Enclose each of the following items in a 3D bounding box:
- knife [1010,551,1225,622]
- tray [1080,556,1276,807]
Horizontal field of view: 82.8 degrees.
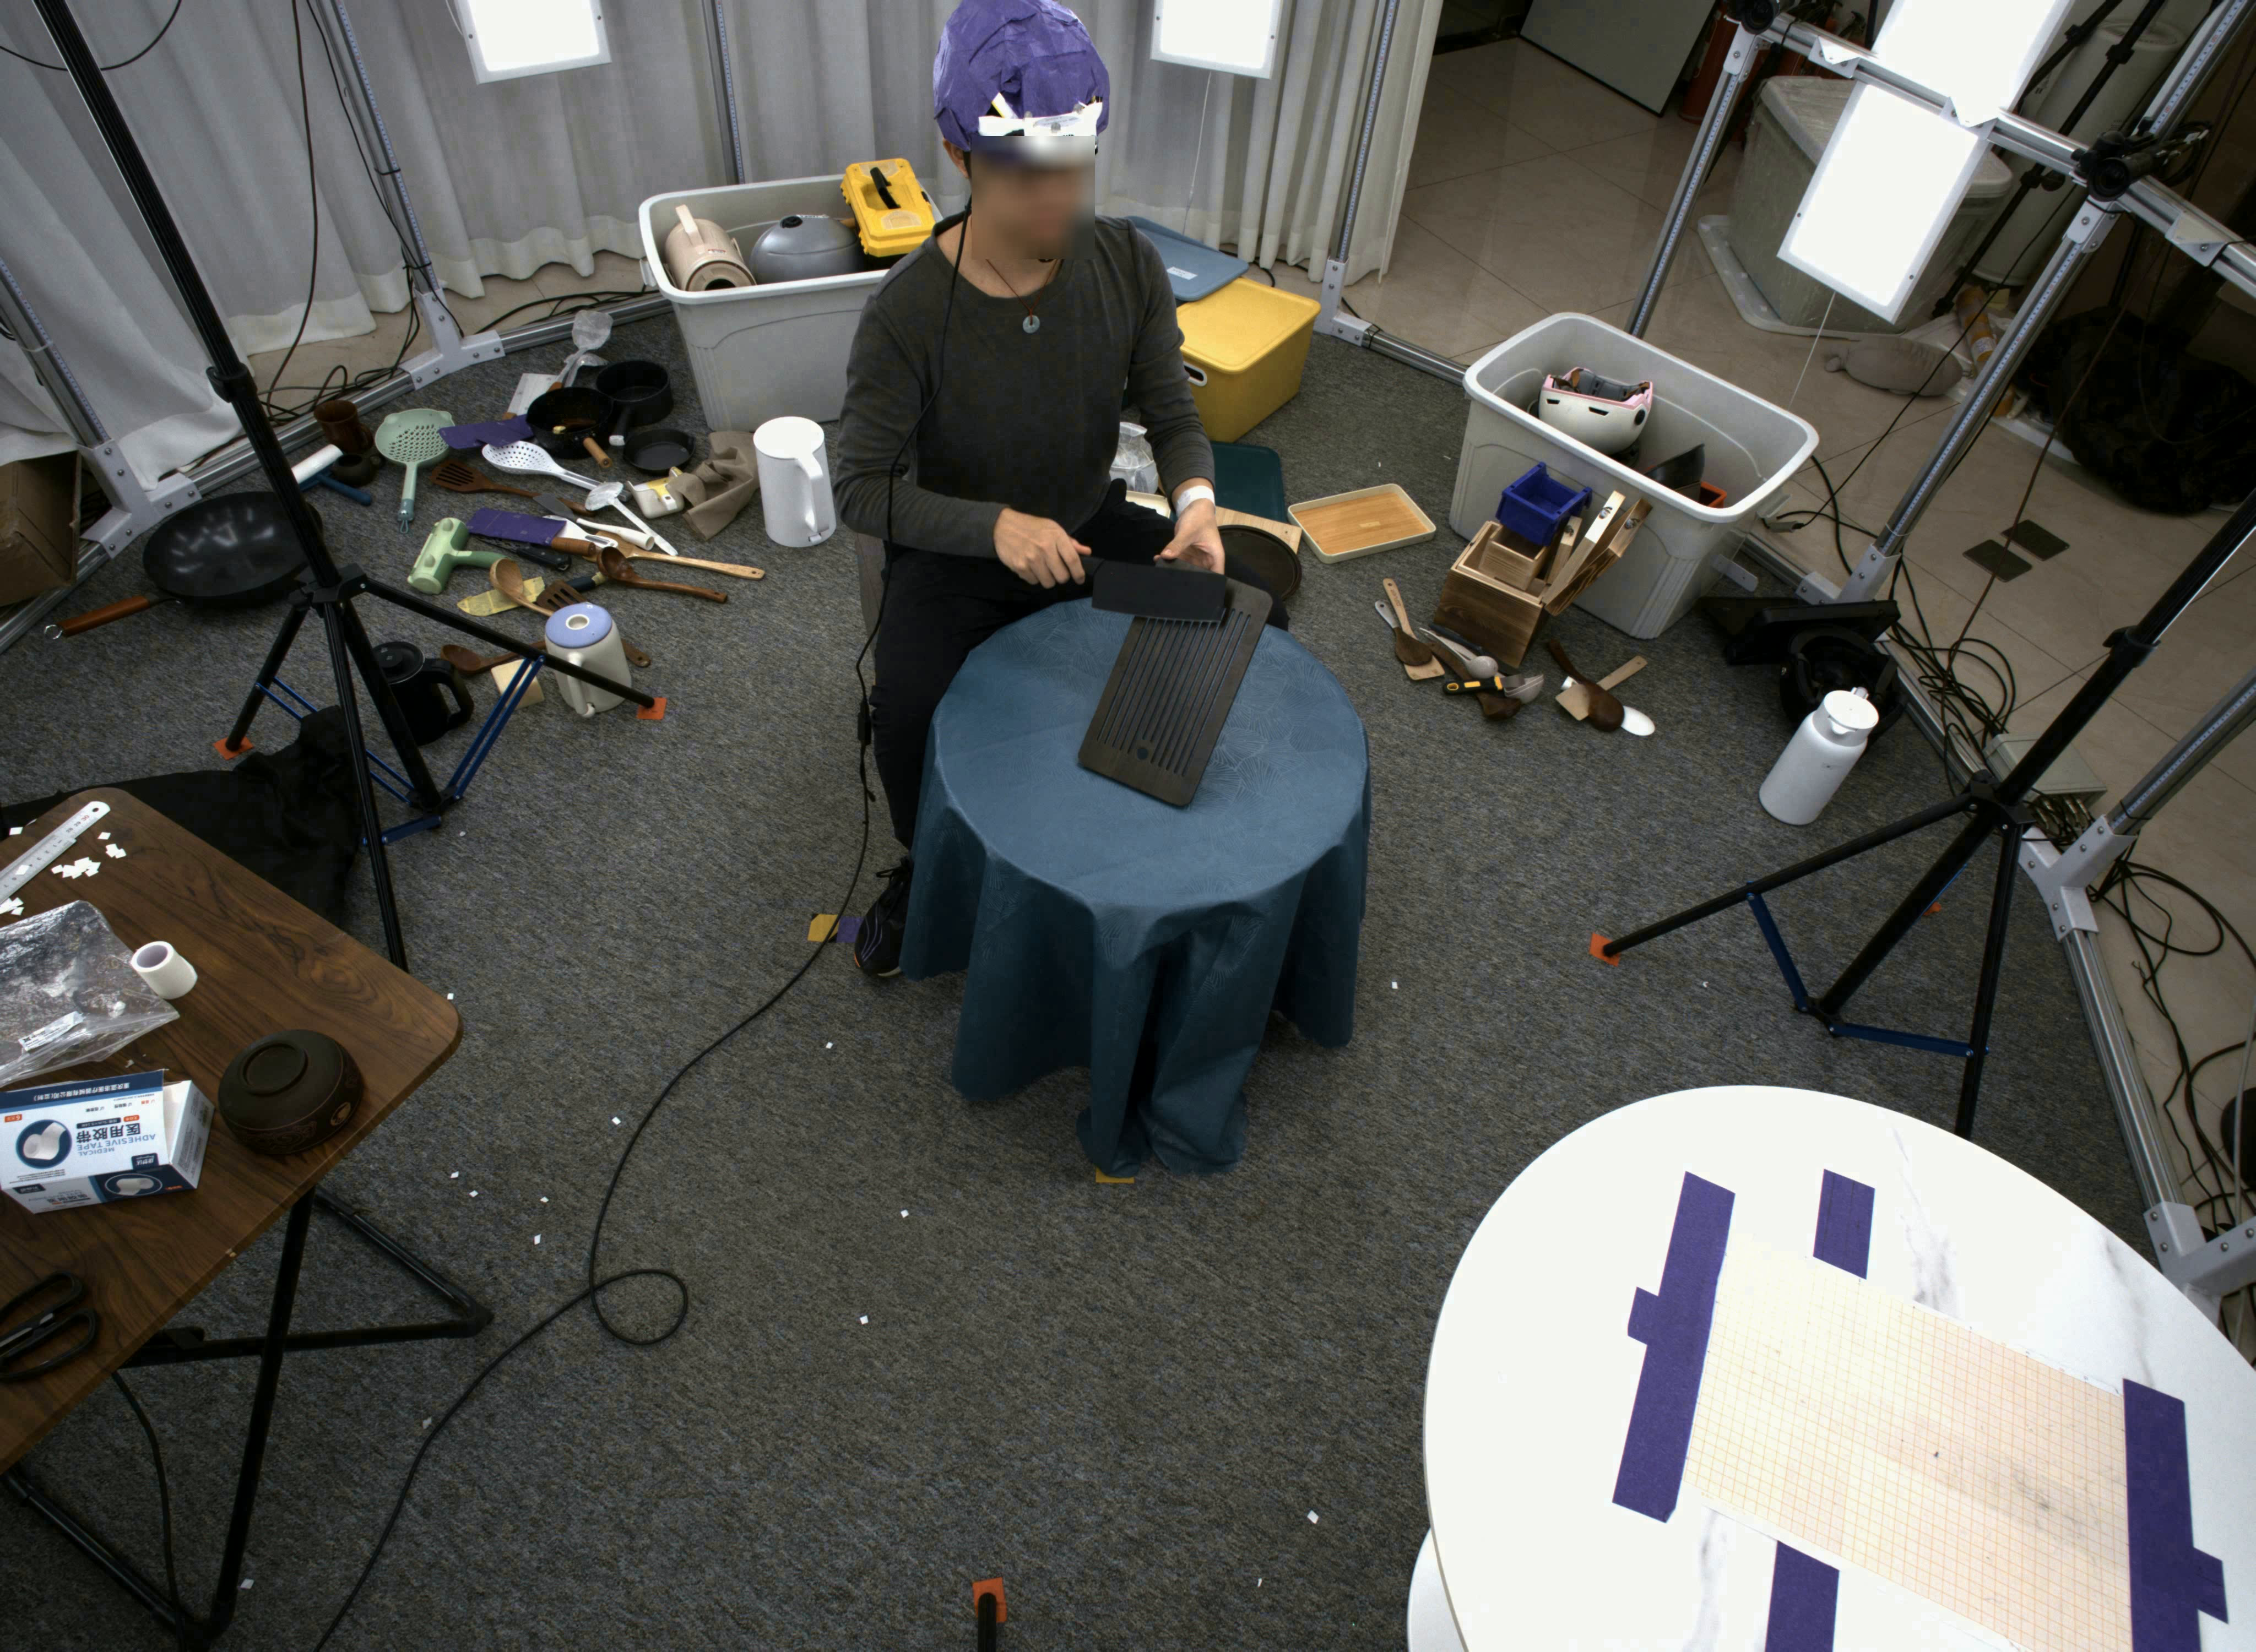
[{"bbox_3d":[-0.017,-0.320,1.704,0.304,0.080,0.021,15,9,17],"label":"knife"},{"bbox_3d":[0.066,-0.193,1.709,0.171,0.018,0.306,23,91,17],"label":"tray"}]
